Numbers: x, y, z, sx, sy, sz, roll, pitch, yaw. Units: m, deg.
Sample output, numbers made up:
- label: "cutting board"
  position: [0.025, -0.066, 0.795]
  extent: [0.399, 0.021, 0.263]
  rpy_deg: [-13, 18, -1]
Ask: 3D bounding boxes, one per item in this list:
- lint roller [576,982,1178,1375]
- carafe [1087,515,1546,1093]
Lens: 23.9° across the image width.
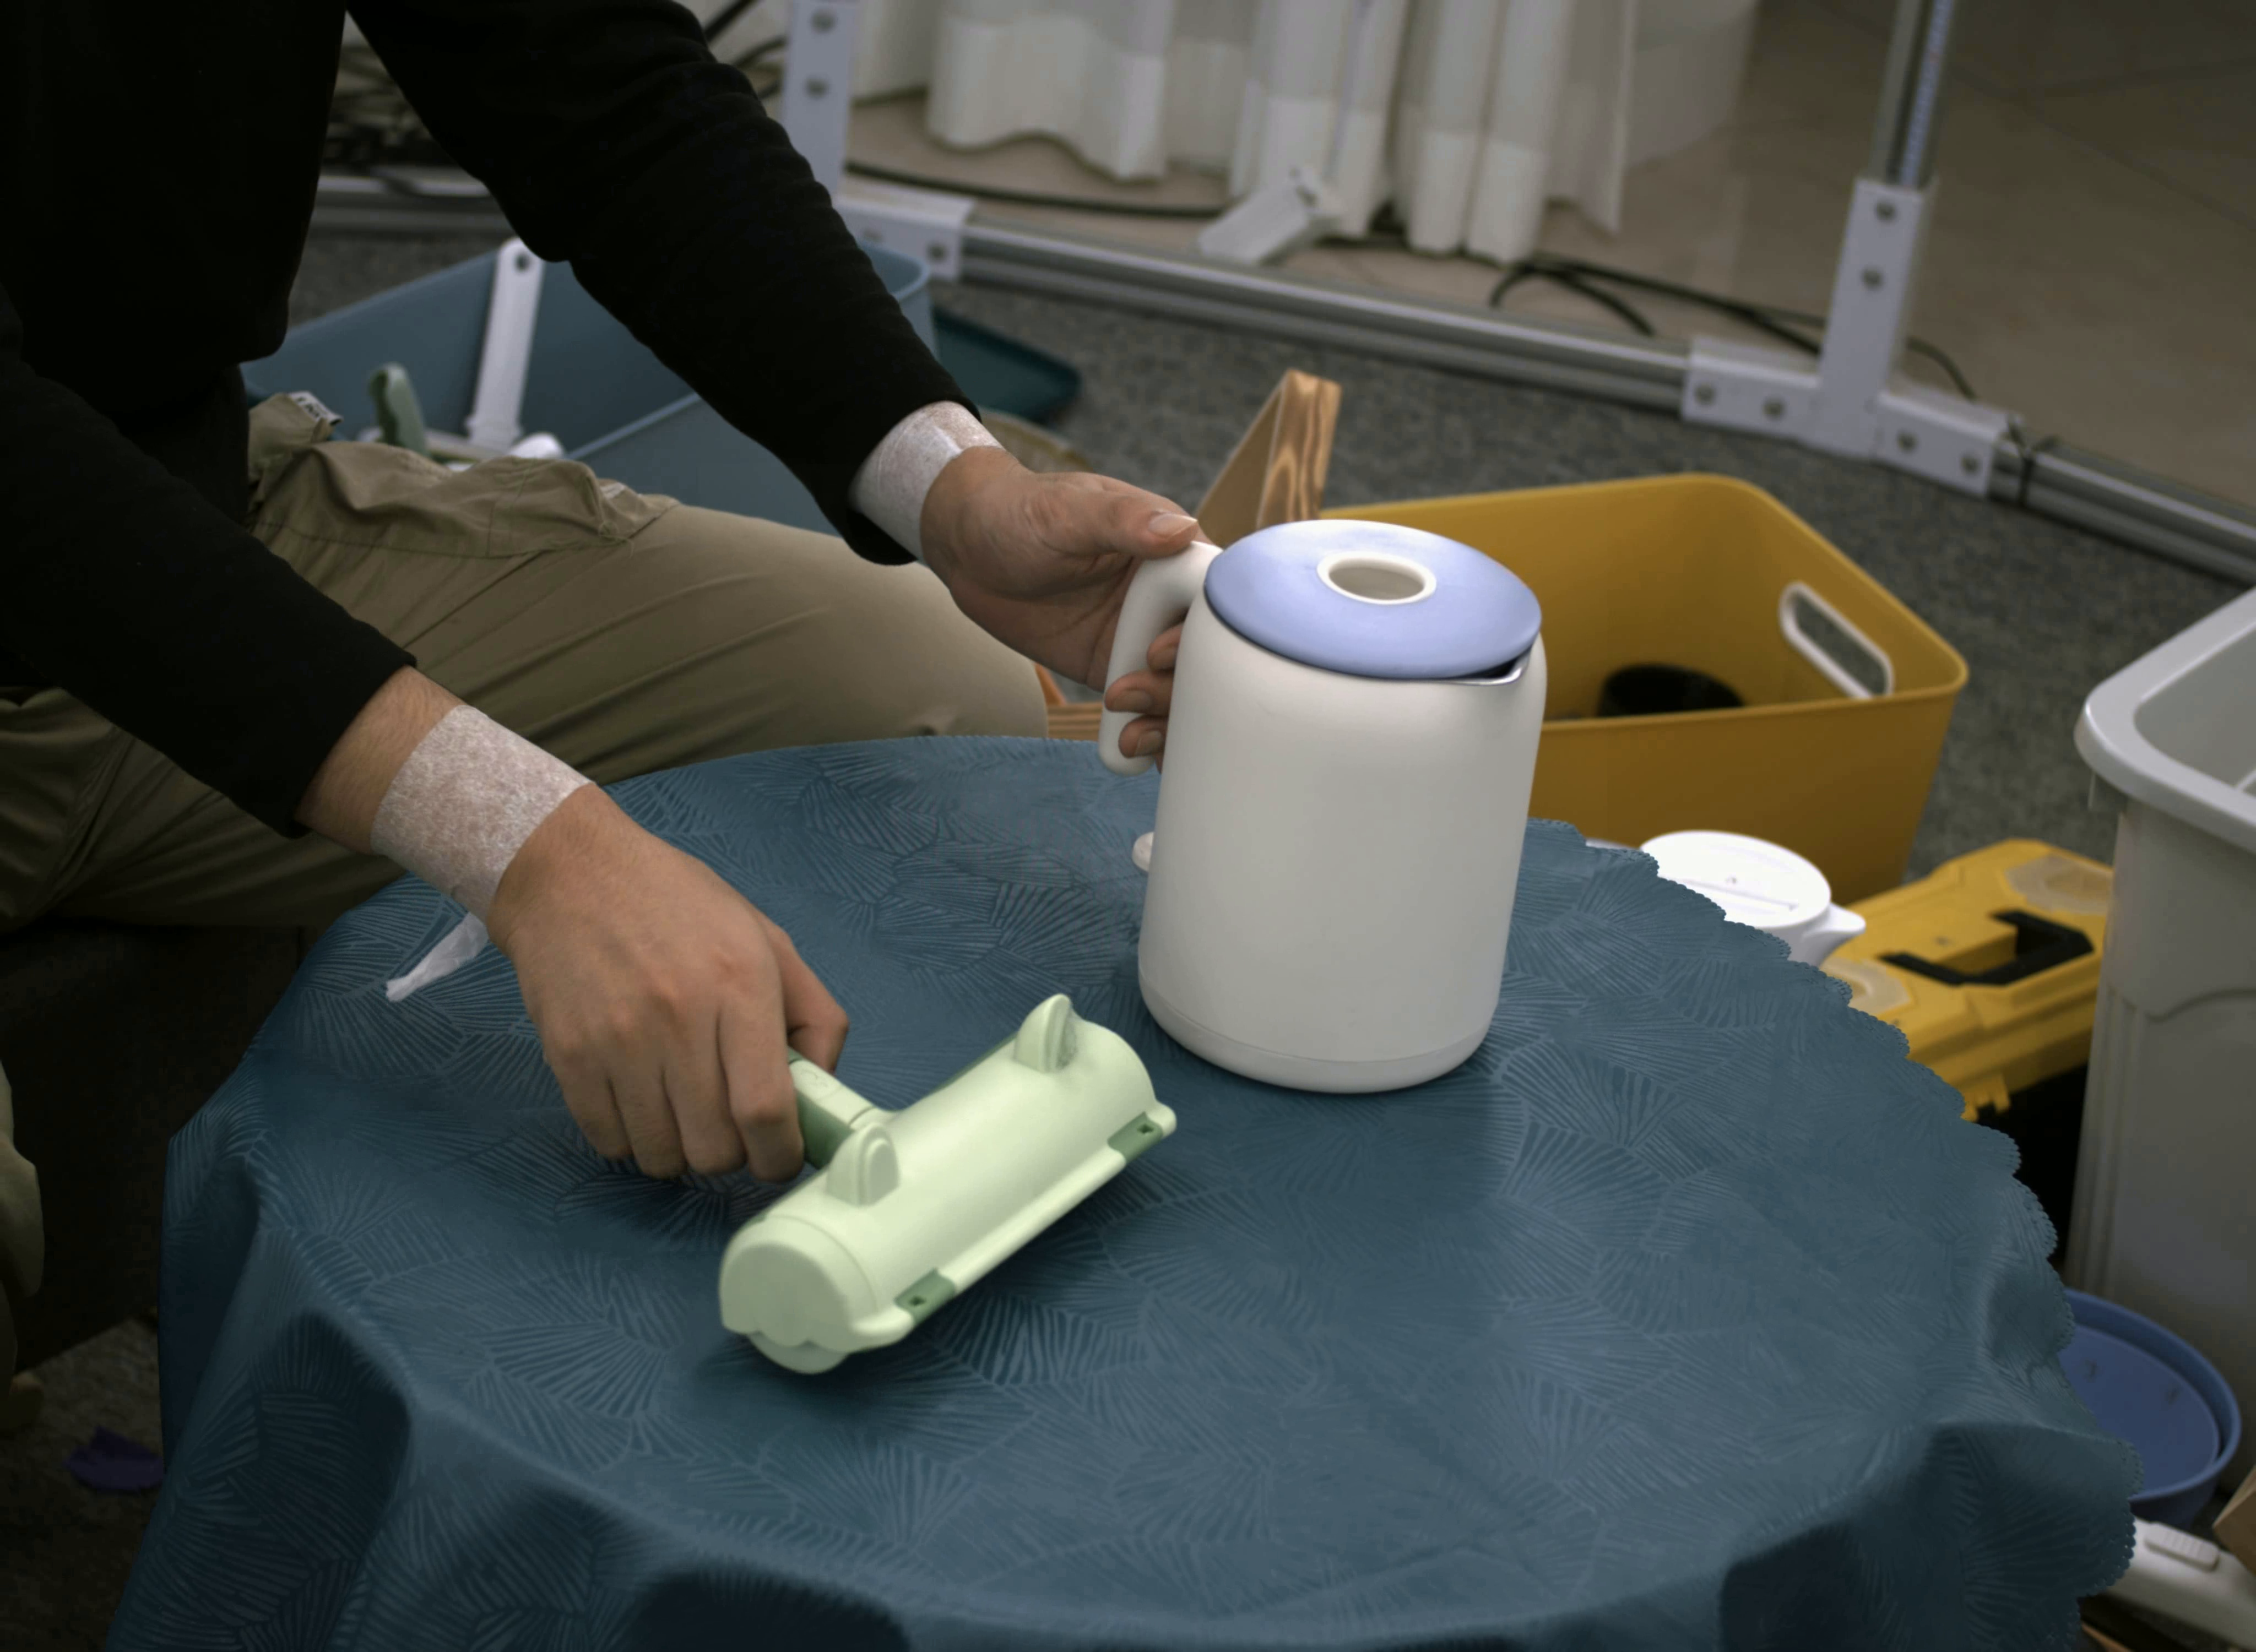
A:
- label: "lint roller"
  position: [-0.100, 0.083, 1.751]
  extent: [0.184, 0.082, 0.198]
  rpy_deg: [34, 33, 16]
- label: "carafe"
  position: [0.059, -0.017, 1.903]
  extent: [0.131, 0.182, 0.192]
  rpy_deg: [-19, 34, -42]
